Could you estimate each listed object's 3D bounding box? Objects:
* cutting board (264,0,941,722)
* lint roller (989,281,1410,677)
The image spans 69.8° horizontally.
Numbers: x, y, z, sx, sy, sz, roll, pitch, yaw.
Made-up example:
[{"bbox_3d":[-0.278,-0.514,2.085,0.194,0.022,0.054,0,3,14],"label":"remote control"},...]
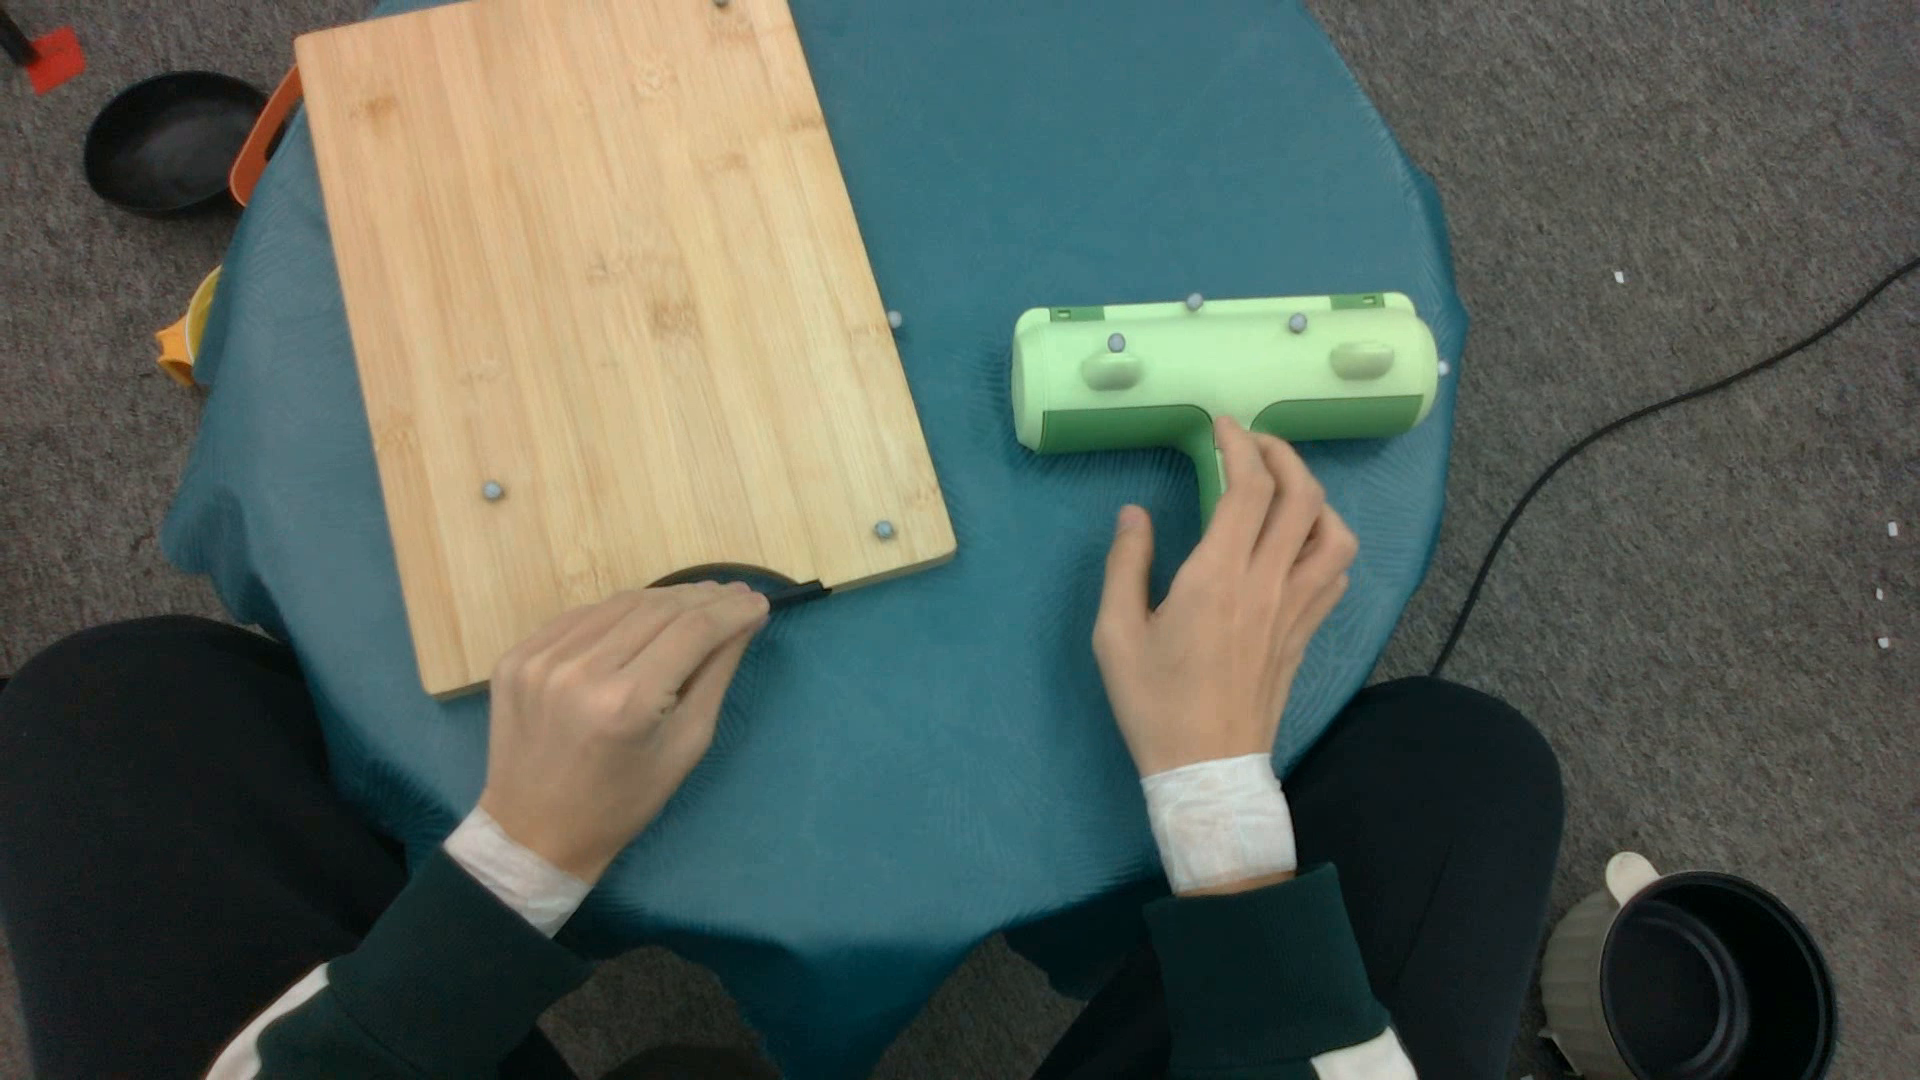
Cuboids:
[{"bbox_3d":[-0.176,-0.114,0.660,0.251,0.023,0.349,-17,75,-10],"label":"cutting board"},{"bbox_3d":[0.119,-0.034,0.631,0.199,0.082,0.184,-4,69,-7],"label":"lint roller"}]
